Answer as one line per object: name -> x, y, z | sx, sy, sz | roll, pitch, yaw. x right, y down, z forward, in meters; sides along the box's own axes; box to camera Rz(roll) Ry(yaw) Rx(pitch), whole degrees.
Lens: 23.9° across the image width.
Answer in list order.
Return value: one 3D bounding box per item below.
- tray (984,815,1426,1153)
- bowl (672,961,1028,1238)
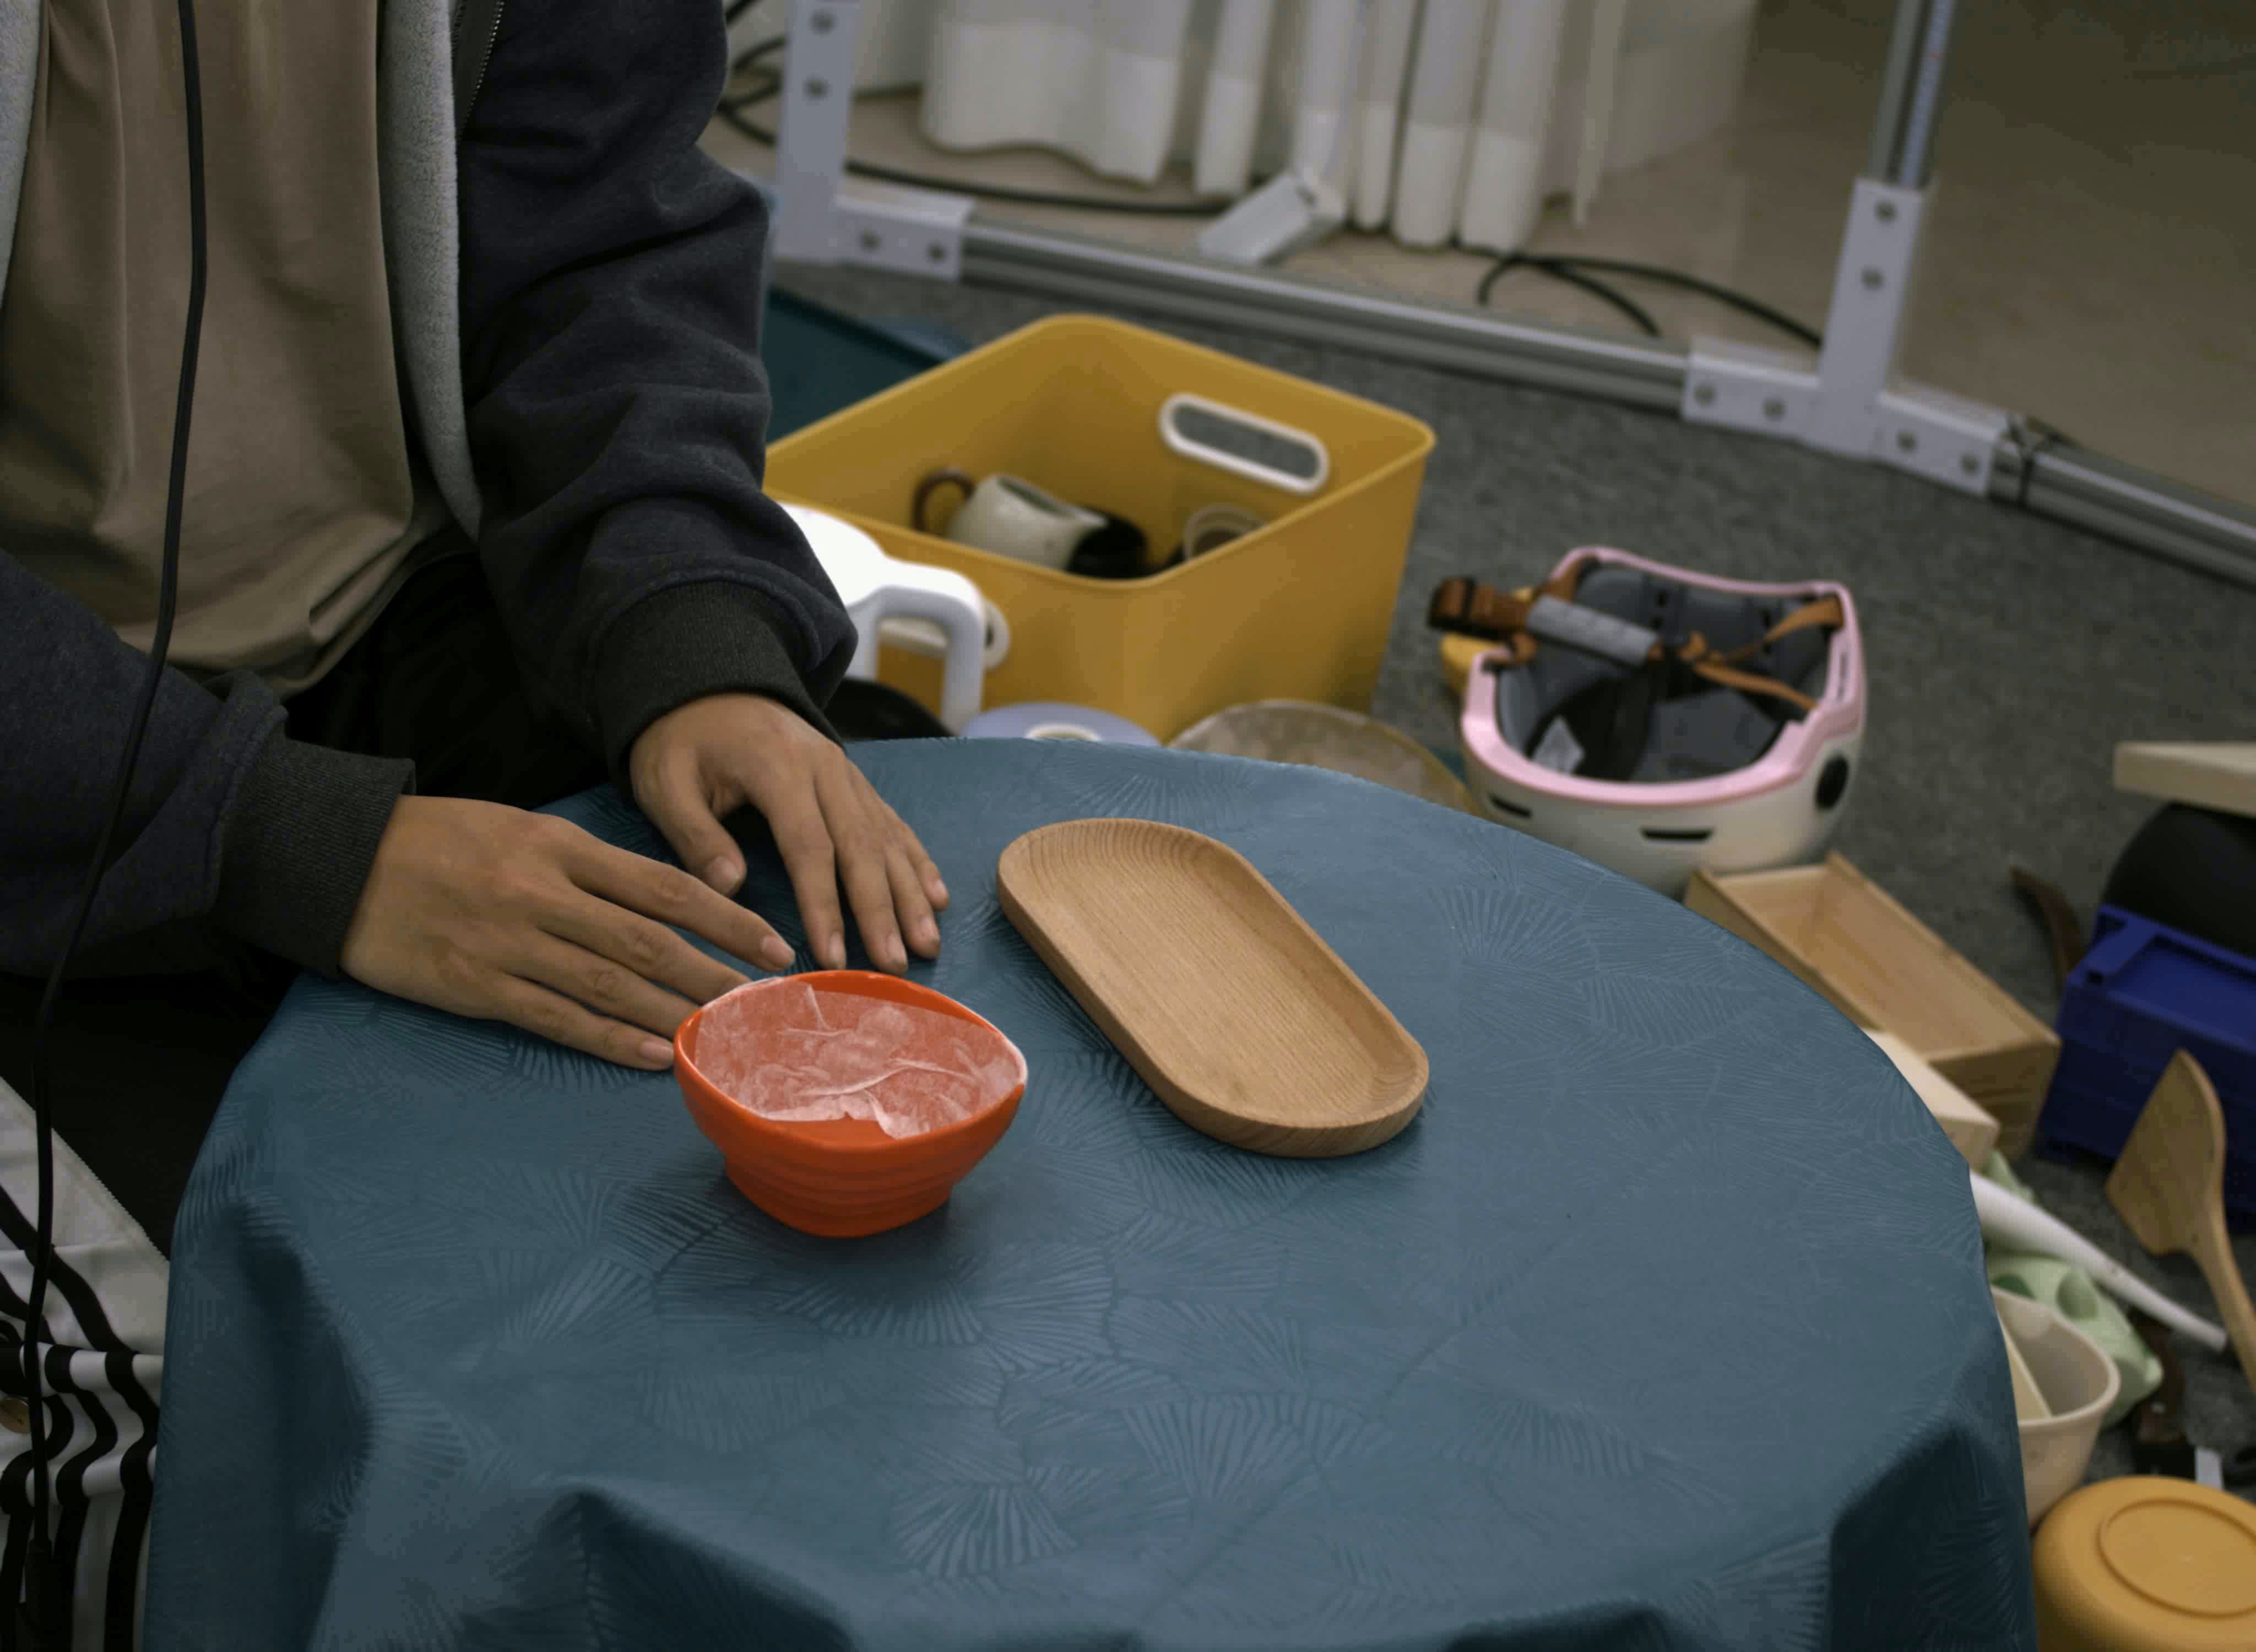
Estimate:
tray -> 0.026, 0.055, 1.924 | 0.101, 0.020, 0.233 | -7, 29, -26
bowl -> -0.095, 0.095, 1.775 | 0.118, 0.051, 0.119 | 5, 28, -3
